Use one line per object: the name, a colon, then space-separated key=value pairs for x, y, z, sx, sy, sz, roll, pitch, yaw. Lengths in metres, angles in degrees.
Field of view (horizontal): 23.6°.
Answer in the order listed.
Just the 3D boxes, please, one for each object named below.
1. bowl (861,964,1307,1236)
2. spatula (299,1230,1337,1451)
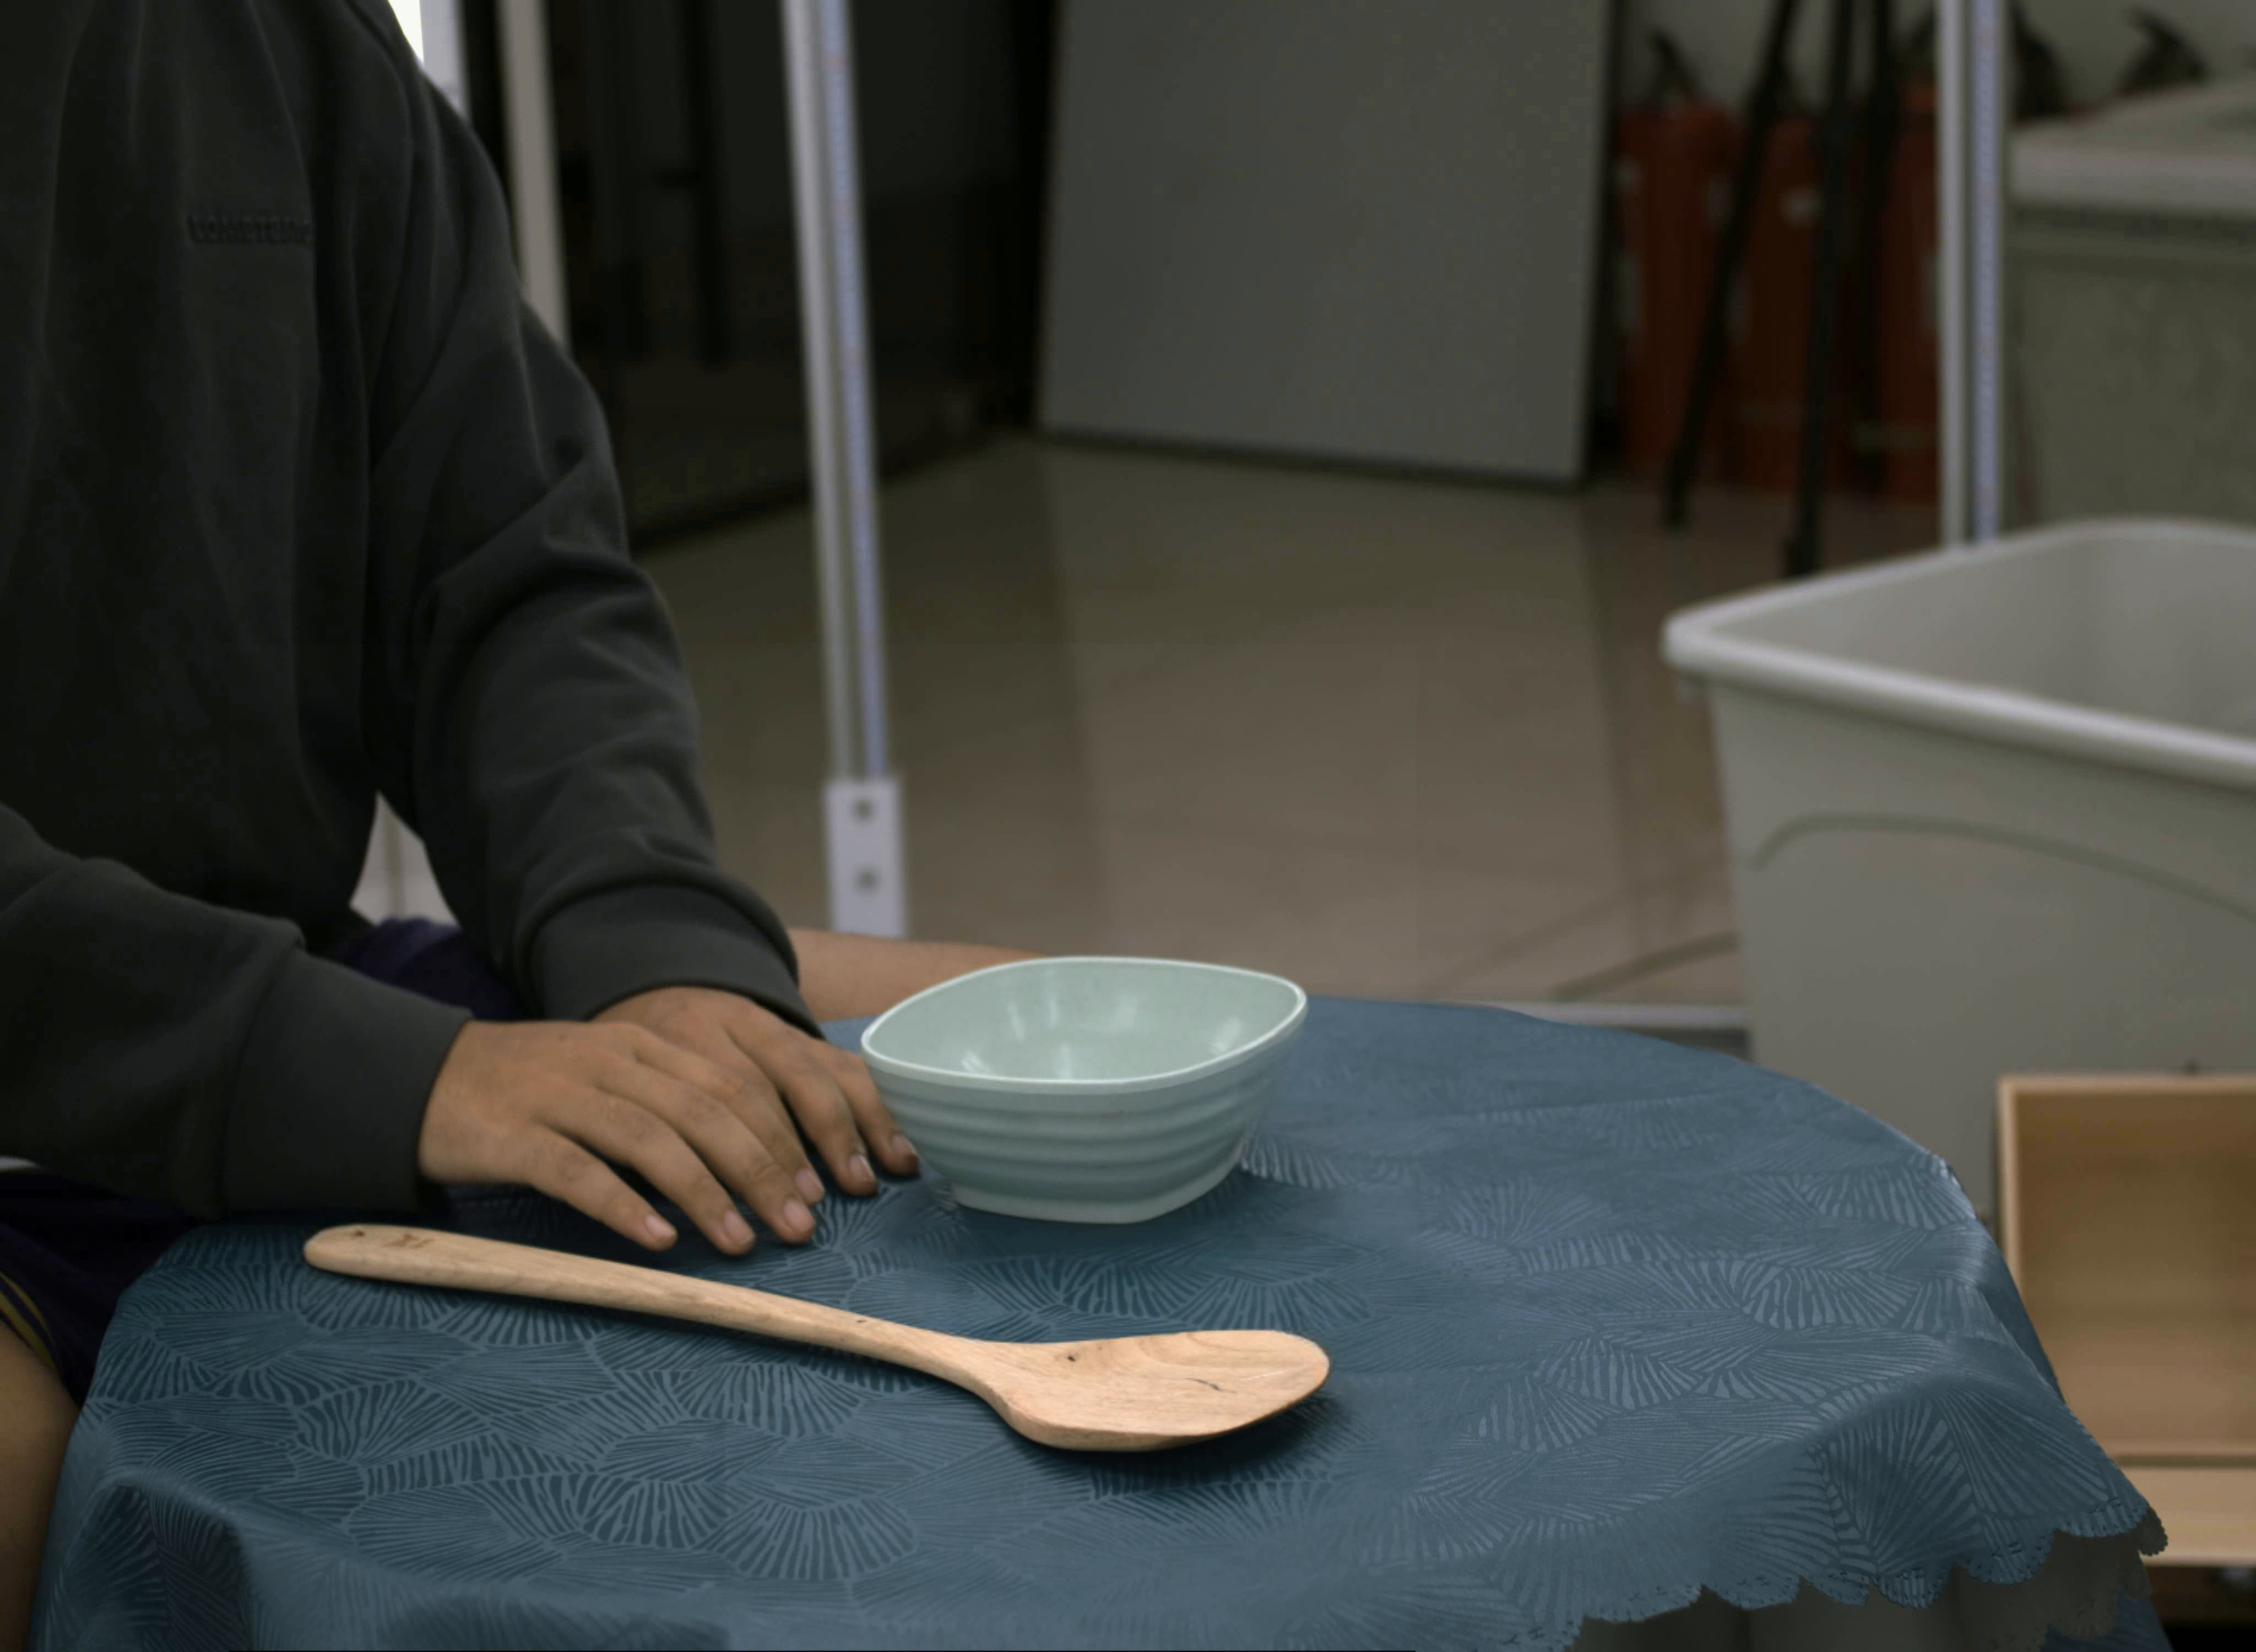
bowl: x=-0.013 y=0.093 z=1.776 sx=0.149 sy=0.059 sz=0.152 roll=-2 pitch=14 yaw=0
spatula: x=-0.110 y=0.151 z=1.639 sx=0.393 sy=0.018 sz=0.094 roll=7 pitch=15 yaw=36
